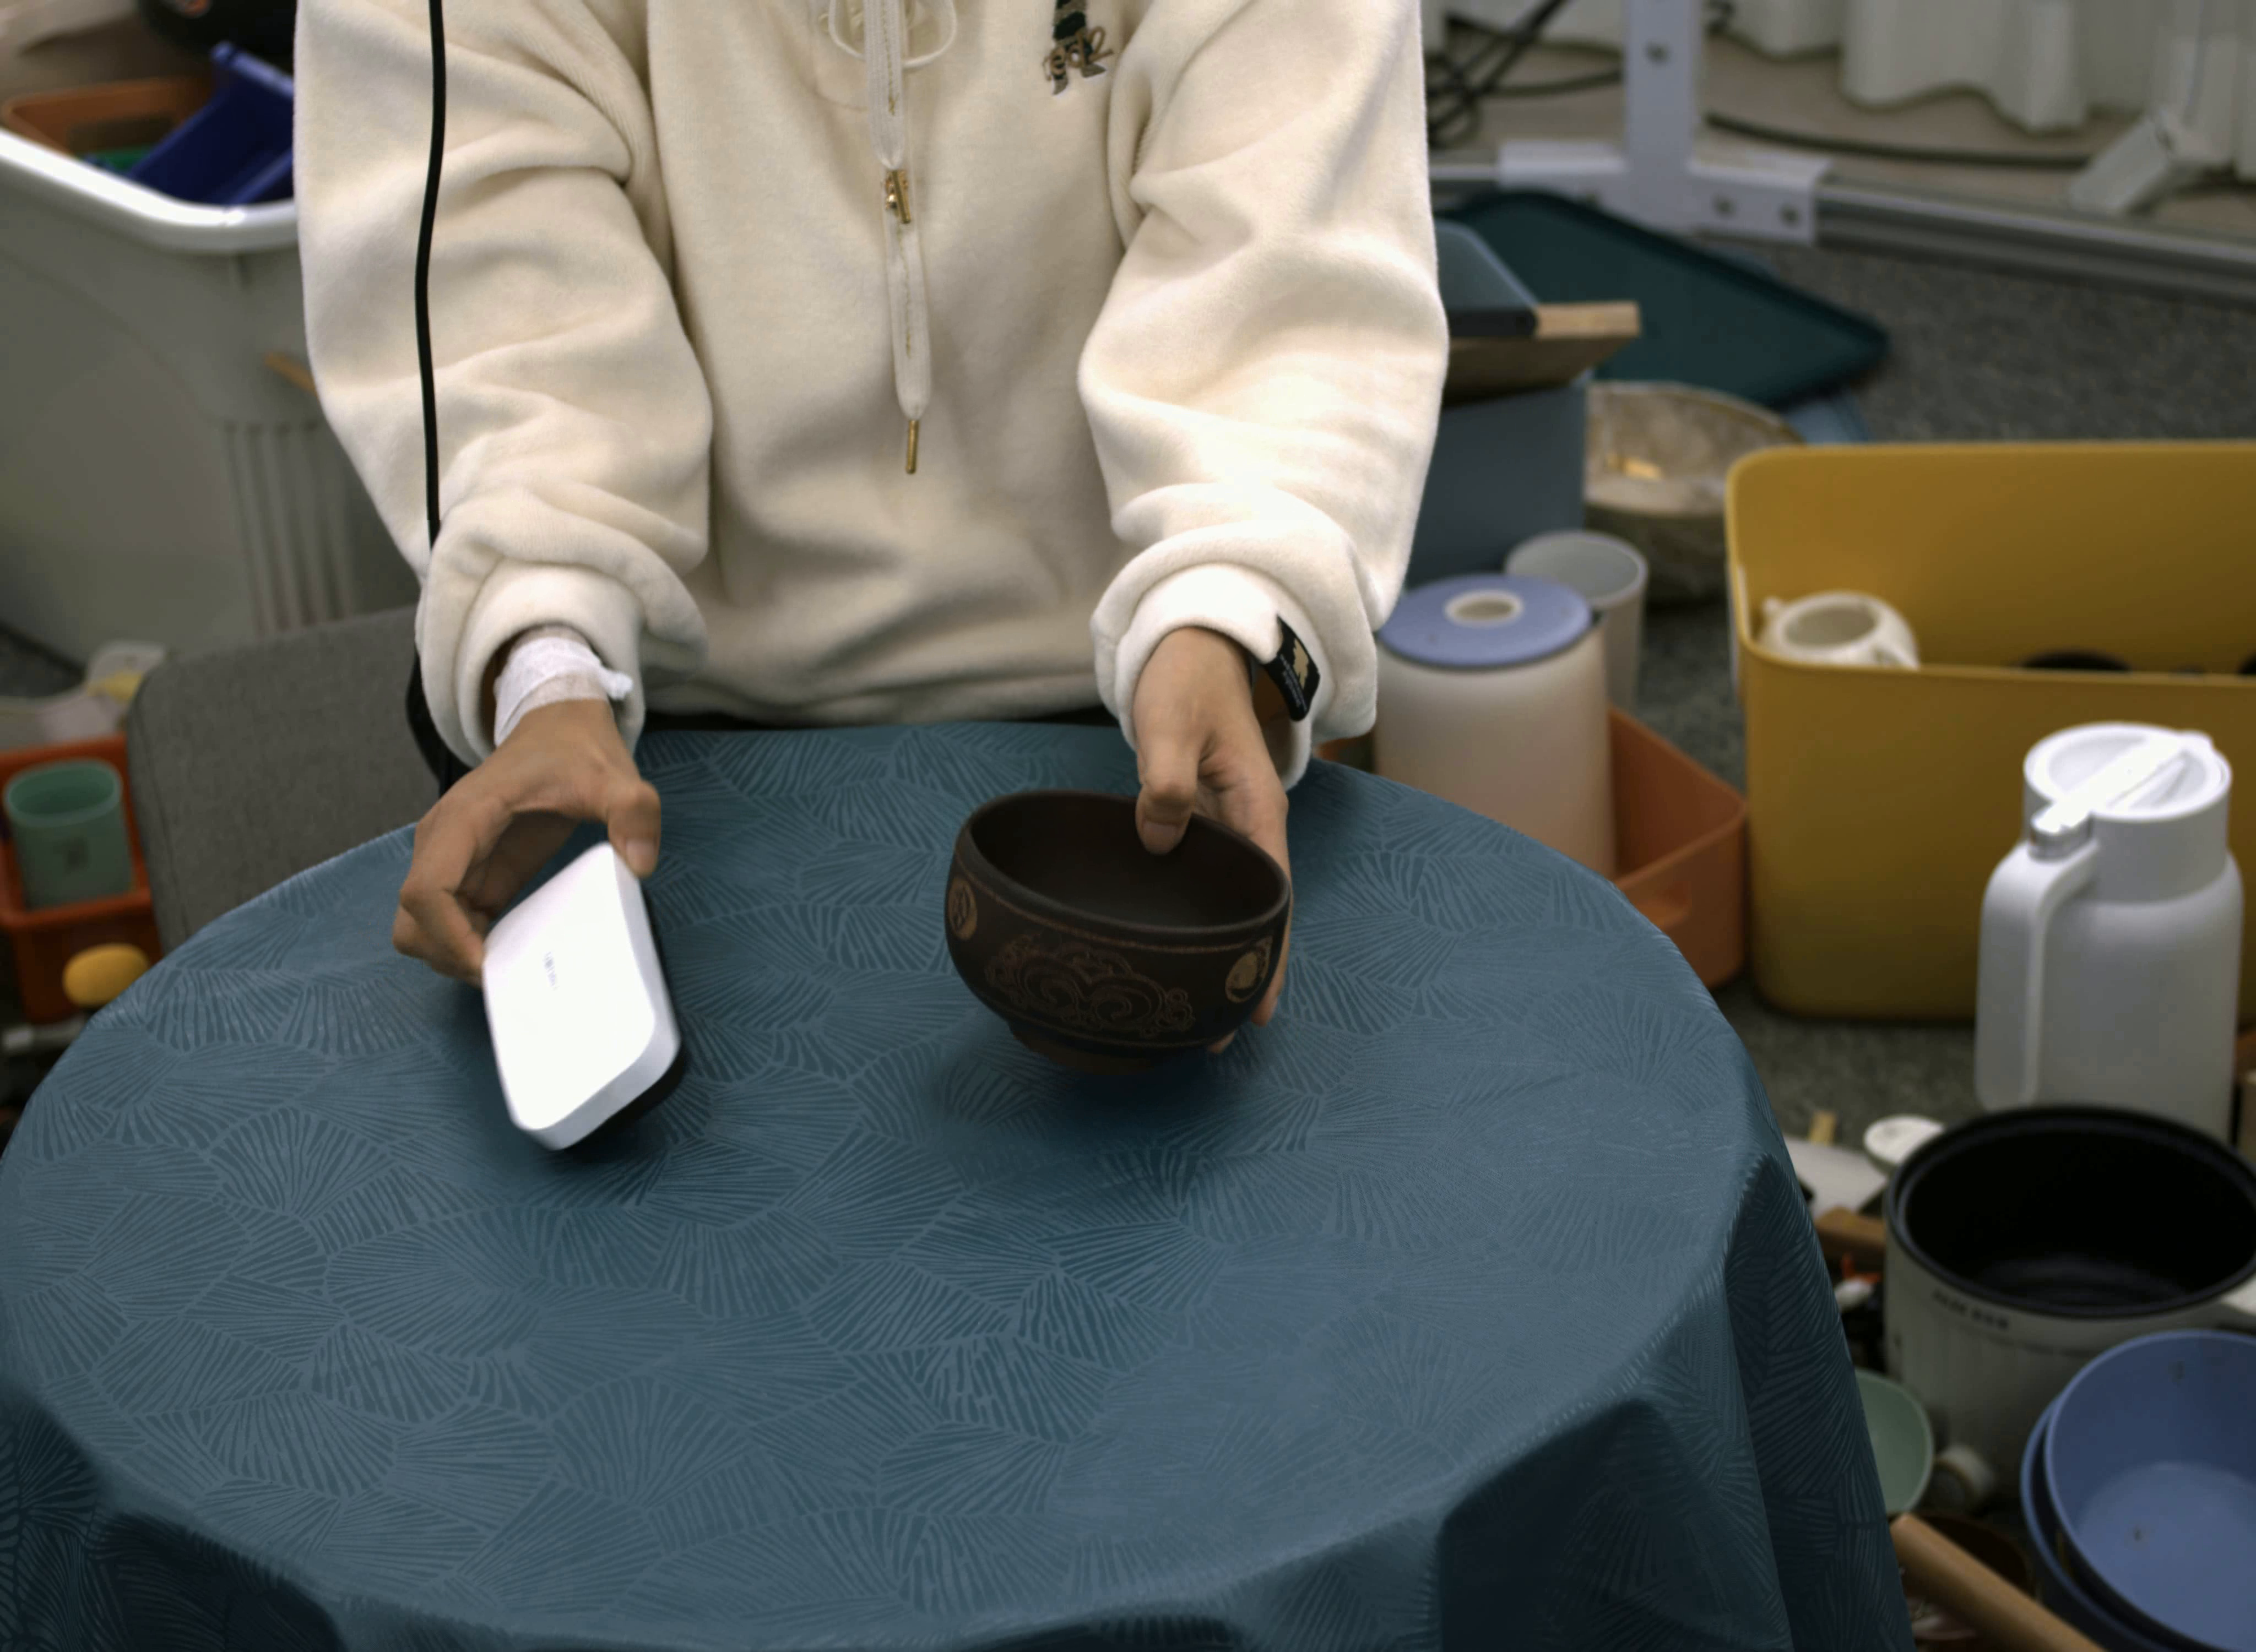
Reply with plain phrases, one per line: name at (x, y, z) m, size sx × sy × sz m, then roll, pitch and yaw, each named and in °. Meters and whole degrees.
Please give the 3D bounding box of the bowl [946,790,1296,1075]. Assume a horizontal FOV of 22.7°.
bowl at (-0.006, 0.042, 1.915) m, size 0.117 × 0.069 × 0.119 m, roll 12°, pitch 20°, yaw -4°

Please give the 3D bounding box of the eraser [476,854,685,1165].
eraser at (-0.188, 0.061, 1.929) m, size 0.063 × 0.034 × 0.133 m, roll -34°, pitch 33°, yaw 9°
